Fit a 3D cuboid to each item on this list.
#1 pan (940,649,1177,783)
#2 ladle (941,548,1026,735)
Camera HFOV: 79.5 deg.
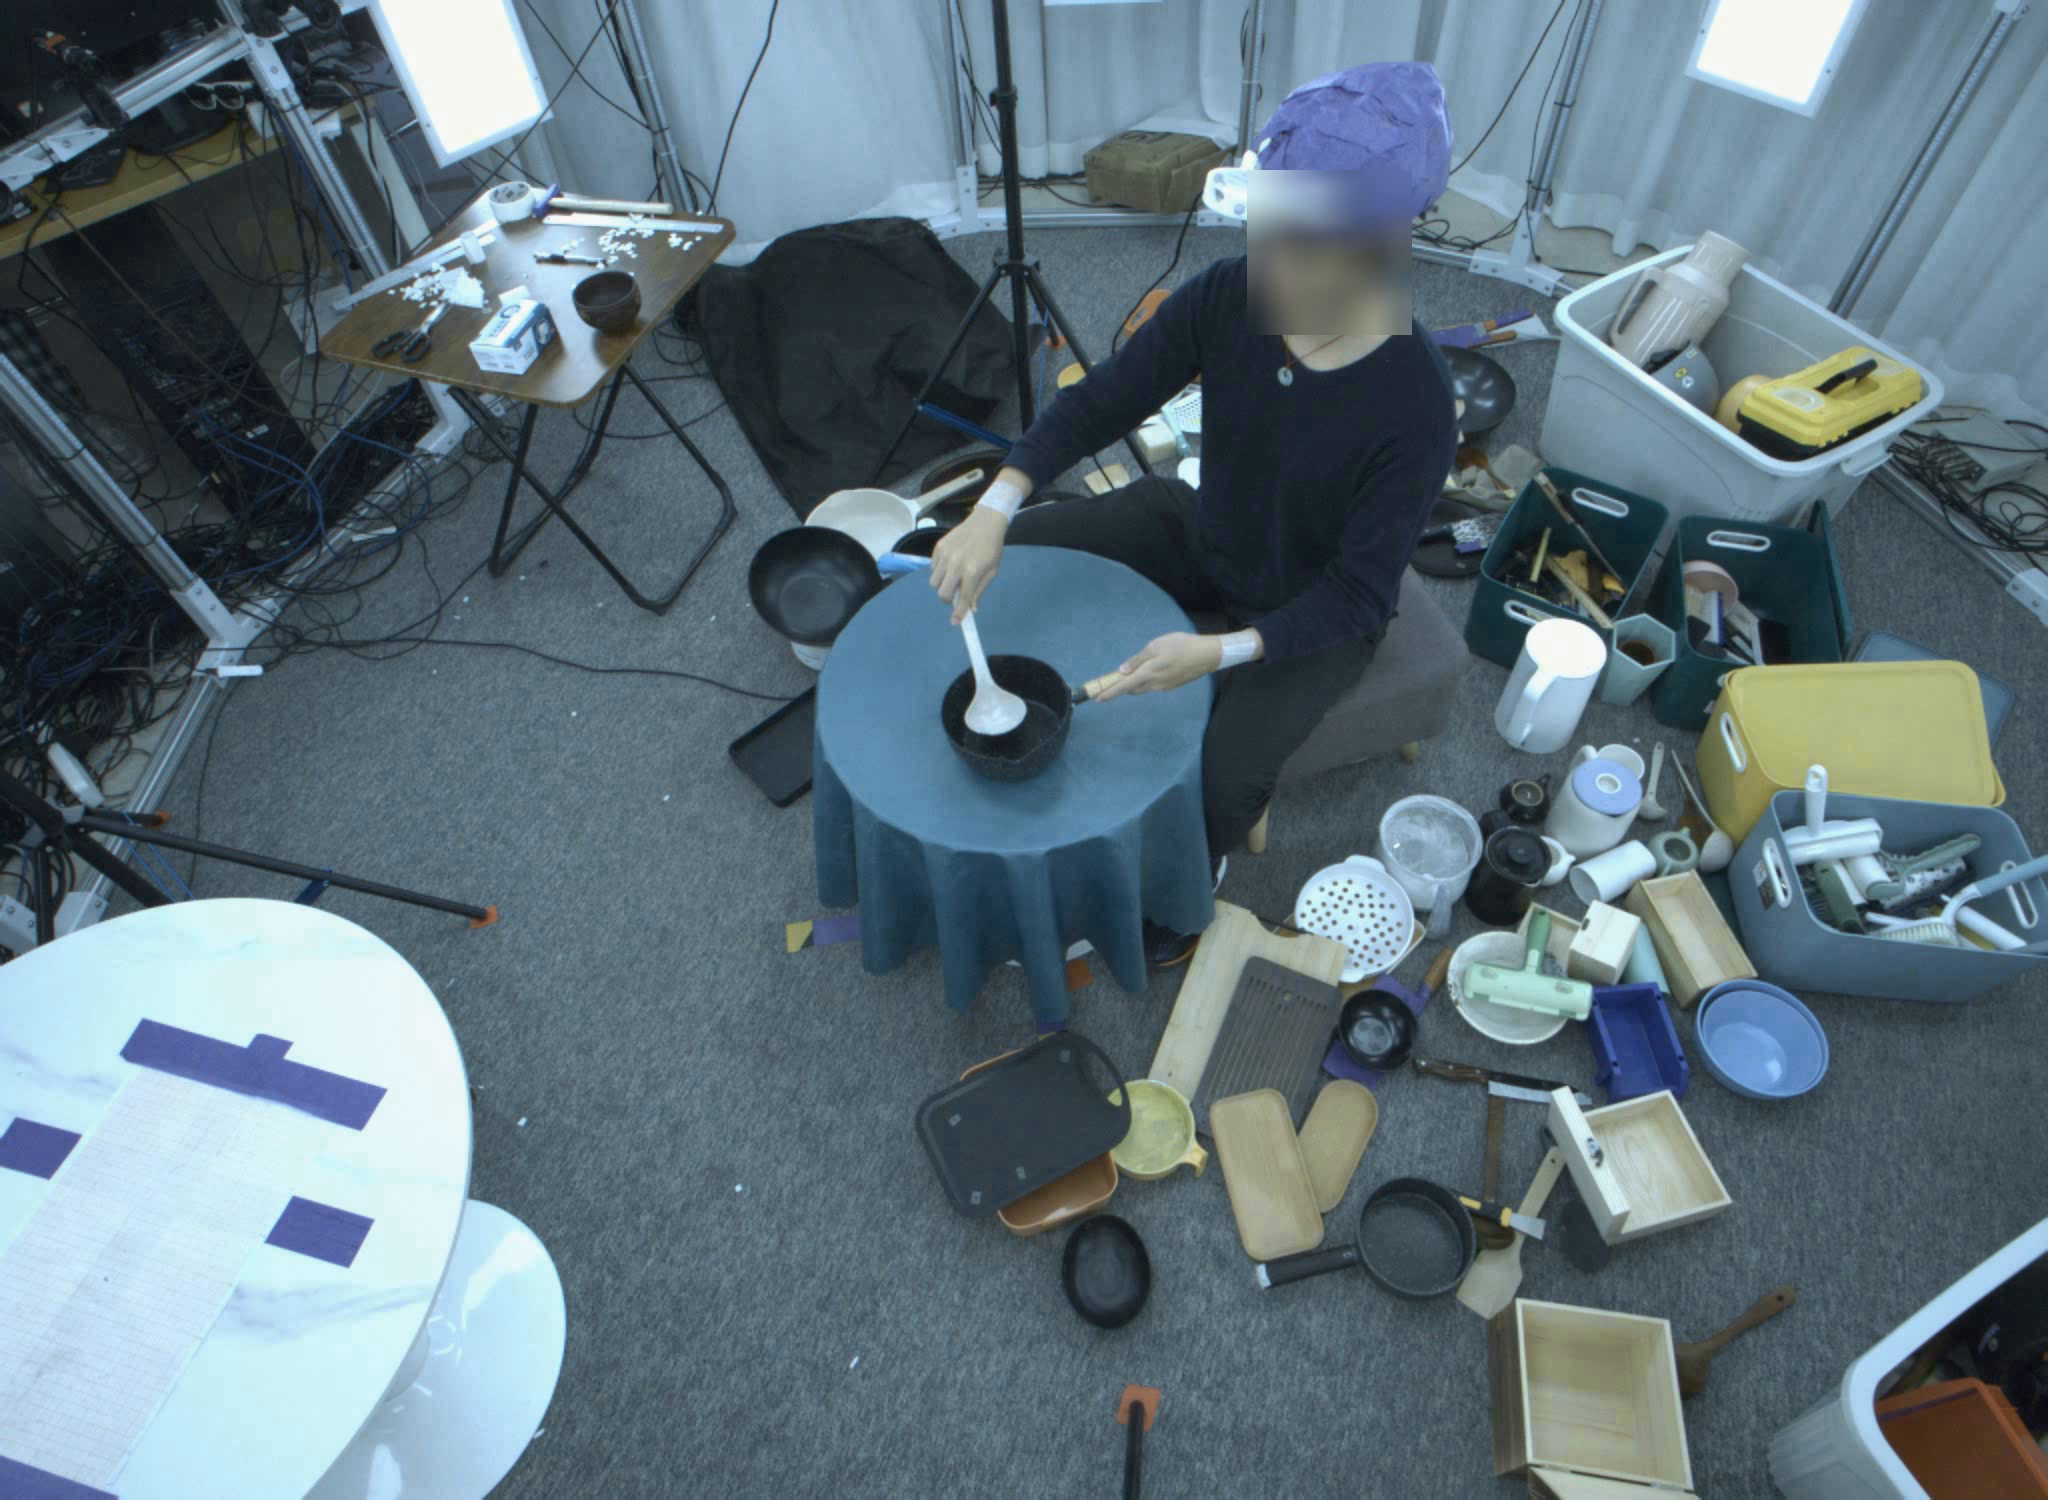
[{"bbox_3d":[0.054,-0.066,1.751,0.343,0.110,0.204,-15,54,-1],"label":"pan"},{"bbox_3d":[-0.072,-0.155,1.741,0.089,0.069,0.276,-17,99,-3],"label":"ladle"}]
